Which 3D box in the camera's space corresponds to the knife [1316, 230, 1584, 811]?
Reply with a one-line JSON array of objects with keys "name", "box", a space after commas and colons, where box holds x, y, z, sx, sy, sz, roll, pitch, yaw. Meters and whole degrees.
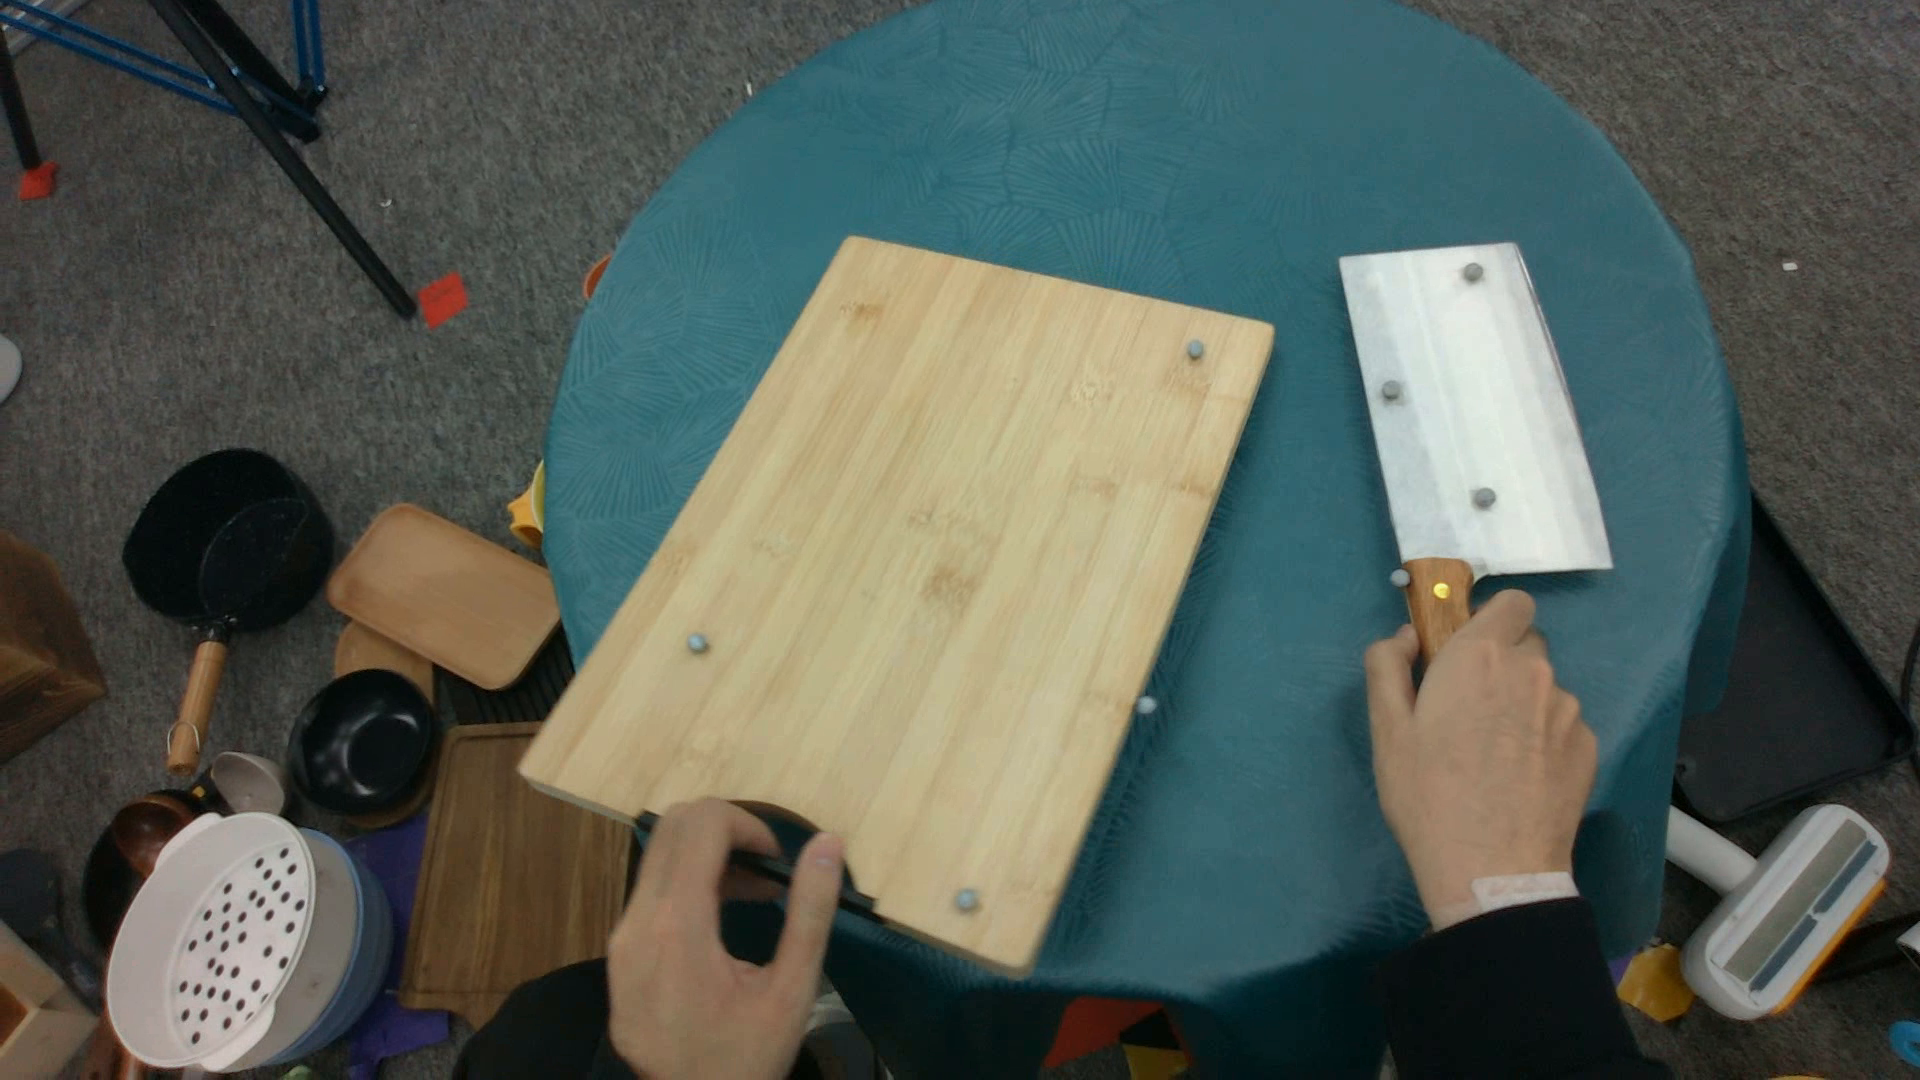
[{"name": "knife", "box": [0.232, -0.026, 0.634, 0.093, 0.021, 0.307, -5, 59, 5]}]

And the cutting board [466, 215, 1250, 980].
[{"name": "cutting board", "box": [-0.032, -0.002, 0.645, 0.250, 0.023, 0.350, 17, 60, 16]}]
